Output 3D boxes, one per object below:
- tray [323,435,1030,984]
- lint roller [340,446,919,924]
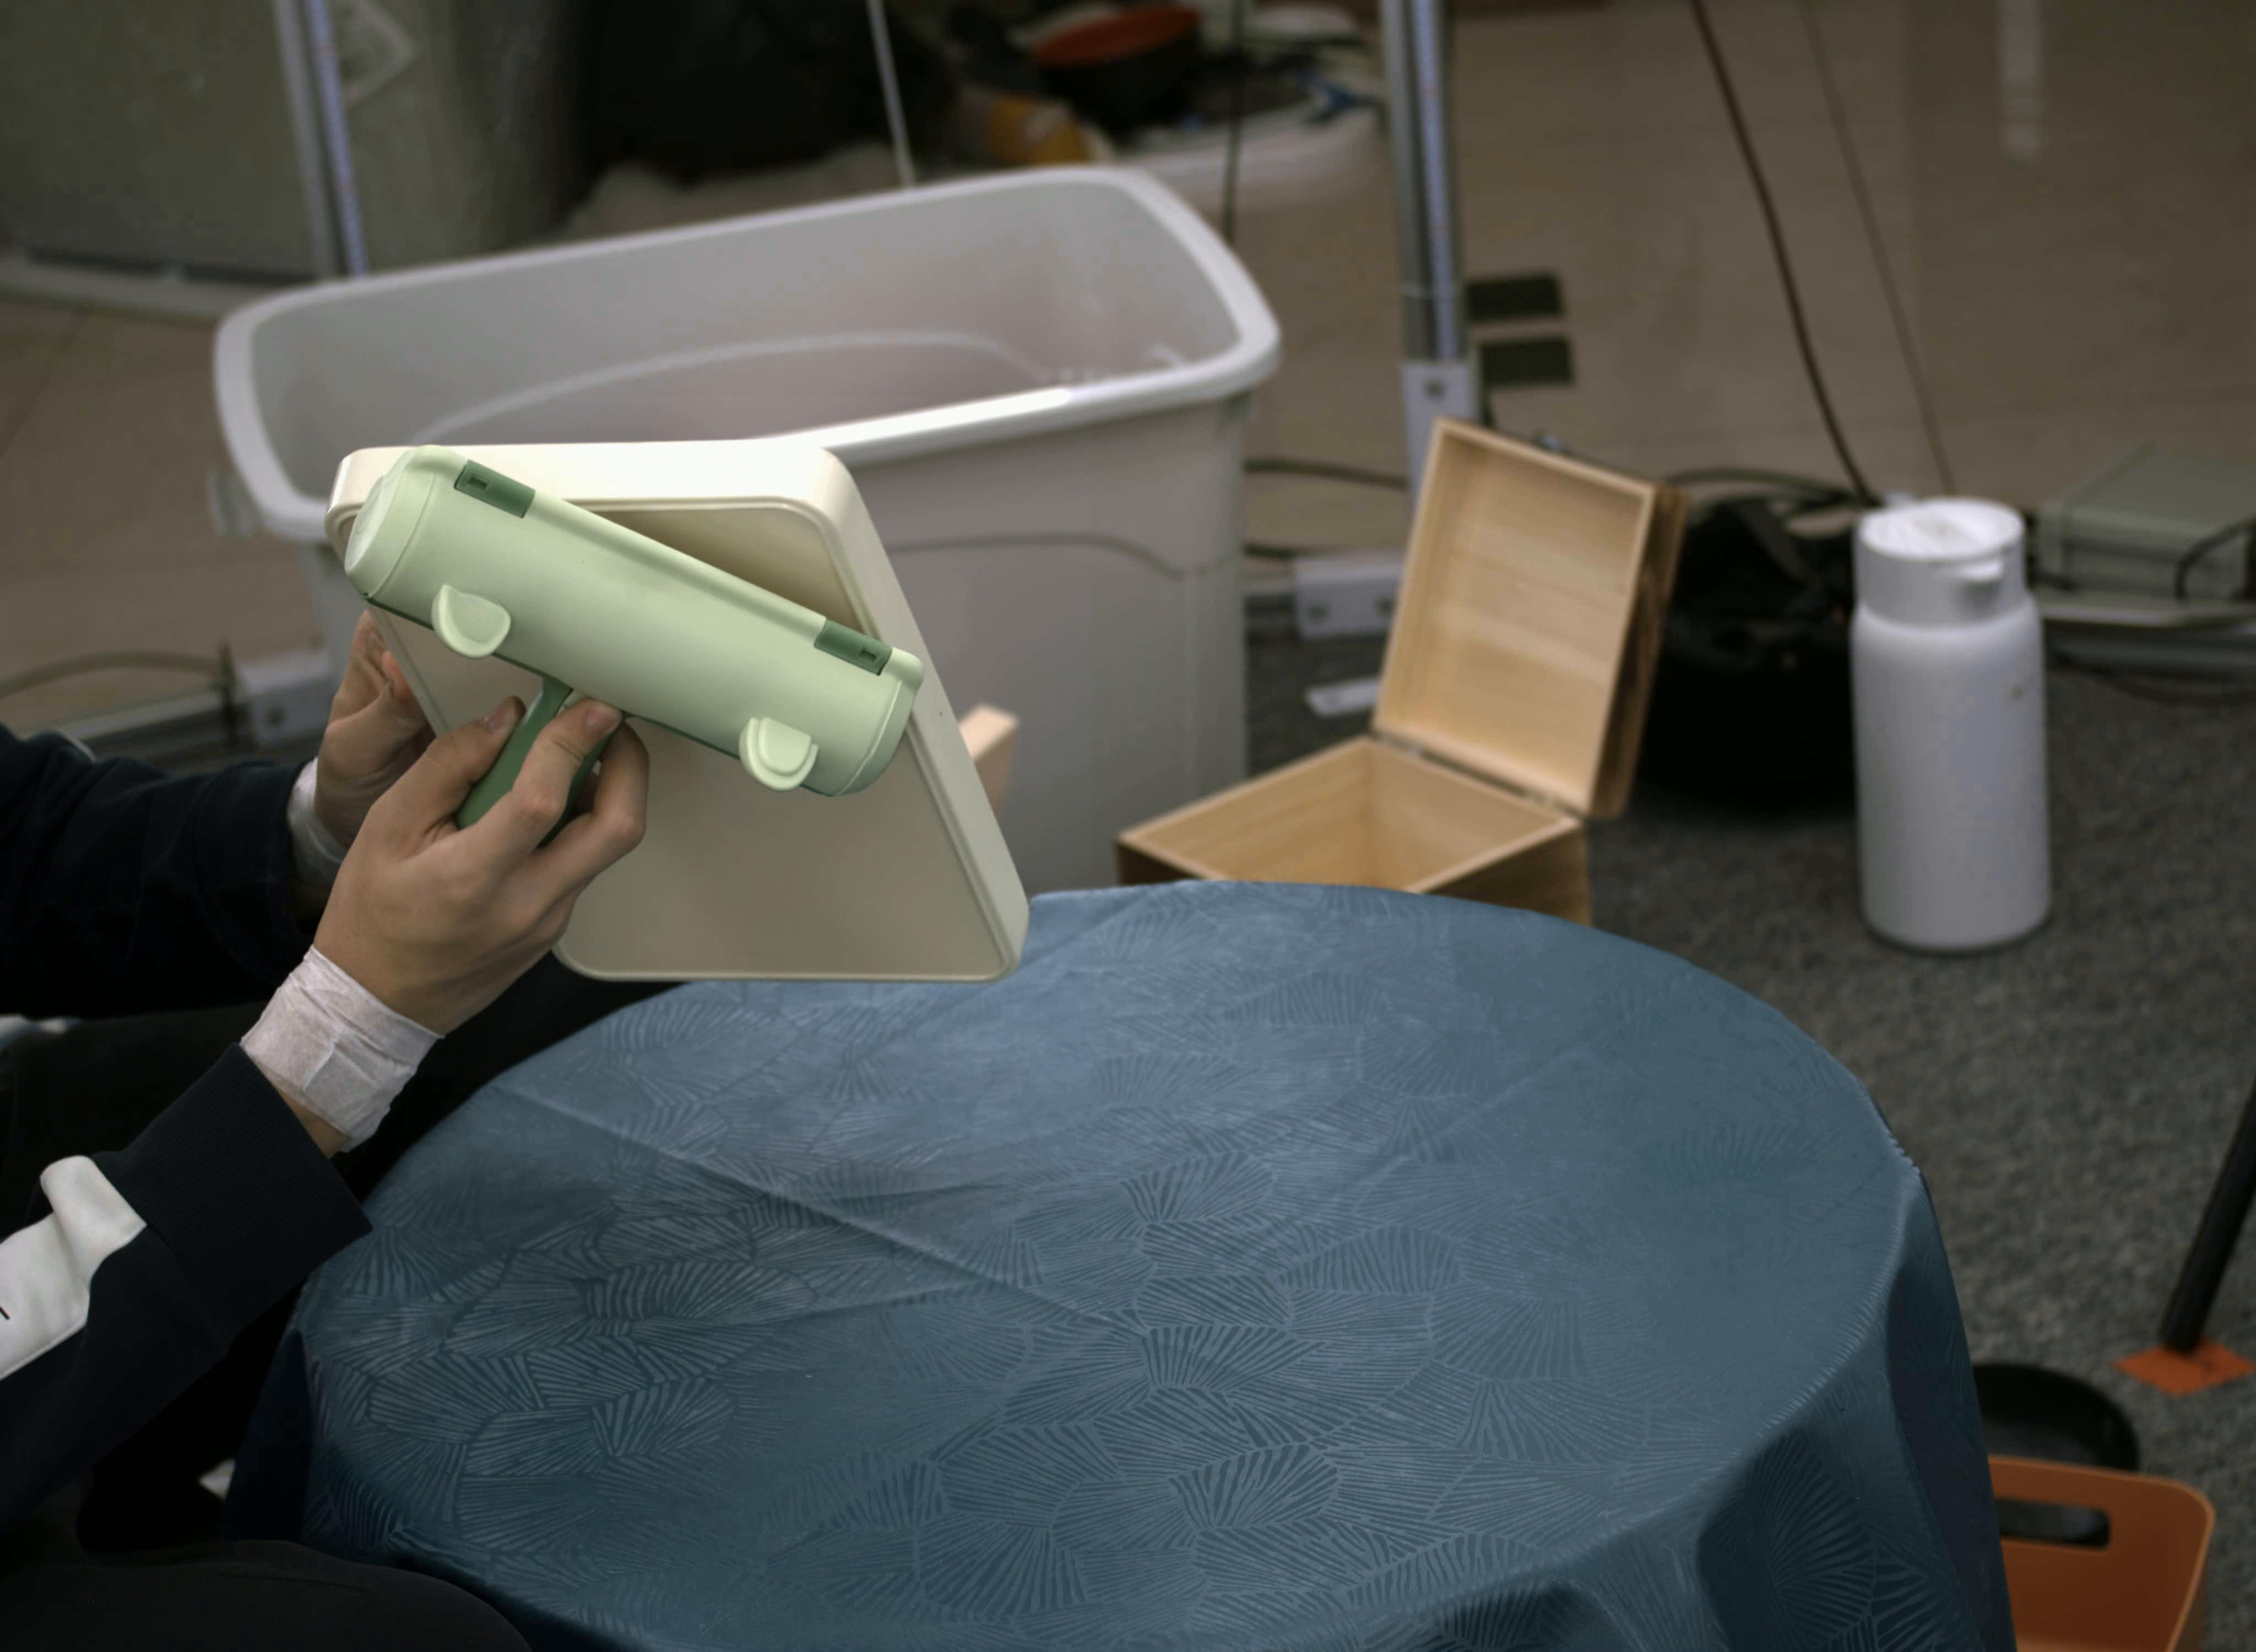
[{"bbox_3d":[-0.159,-0.036,2.053,0.191,0.305,0.027,0,55,15],"label":"tray"},{"bbox_3d":[-0.197,-0.023,1.950,0.199,0.185,0.081,23,26,-20],"label":"lint roller"}]
